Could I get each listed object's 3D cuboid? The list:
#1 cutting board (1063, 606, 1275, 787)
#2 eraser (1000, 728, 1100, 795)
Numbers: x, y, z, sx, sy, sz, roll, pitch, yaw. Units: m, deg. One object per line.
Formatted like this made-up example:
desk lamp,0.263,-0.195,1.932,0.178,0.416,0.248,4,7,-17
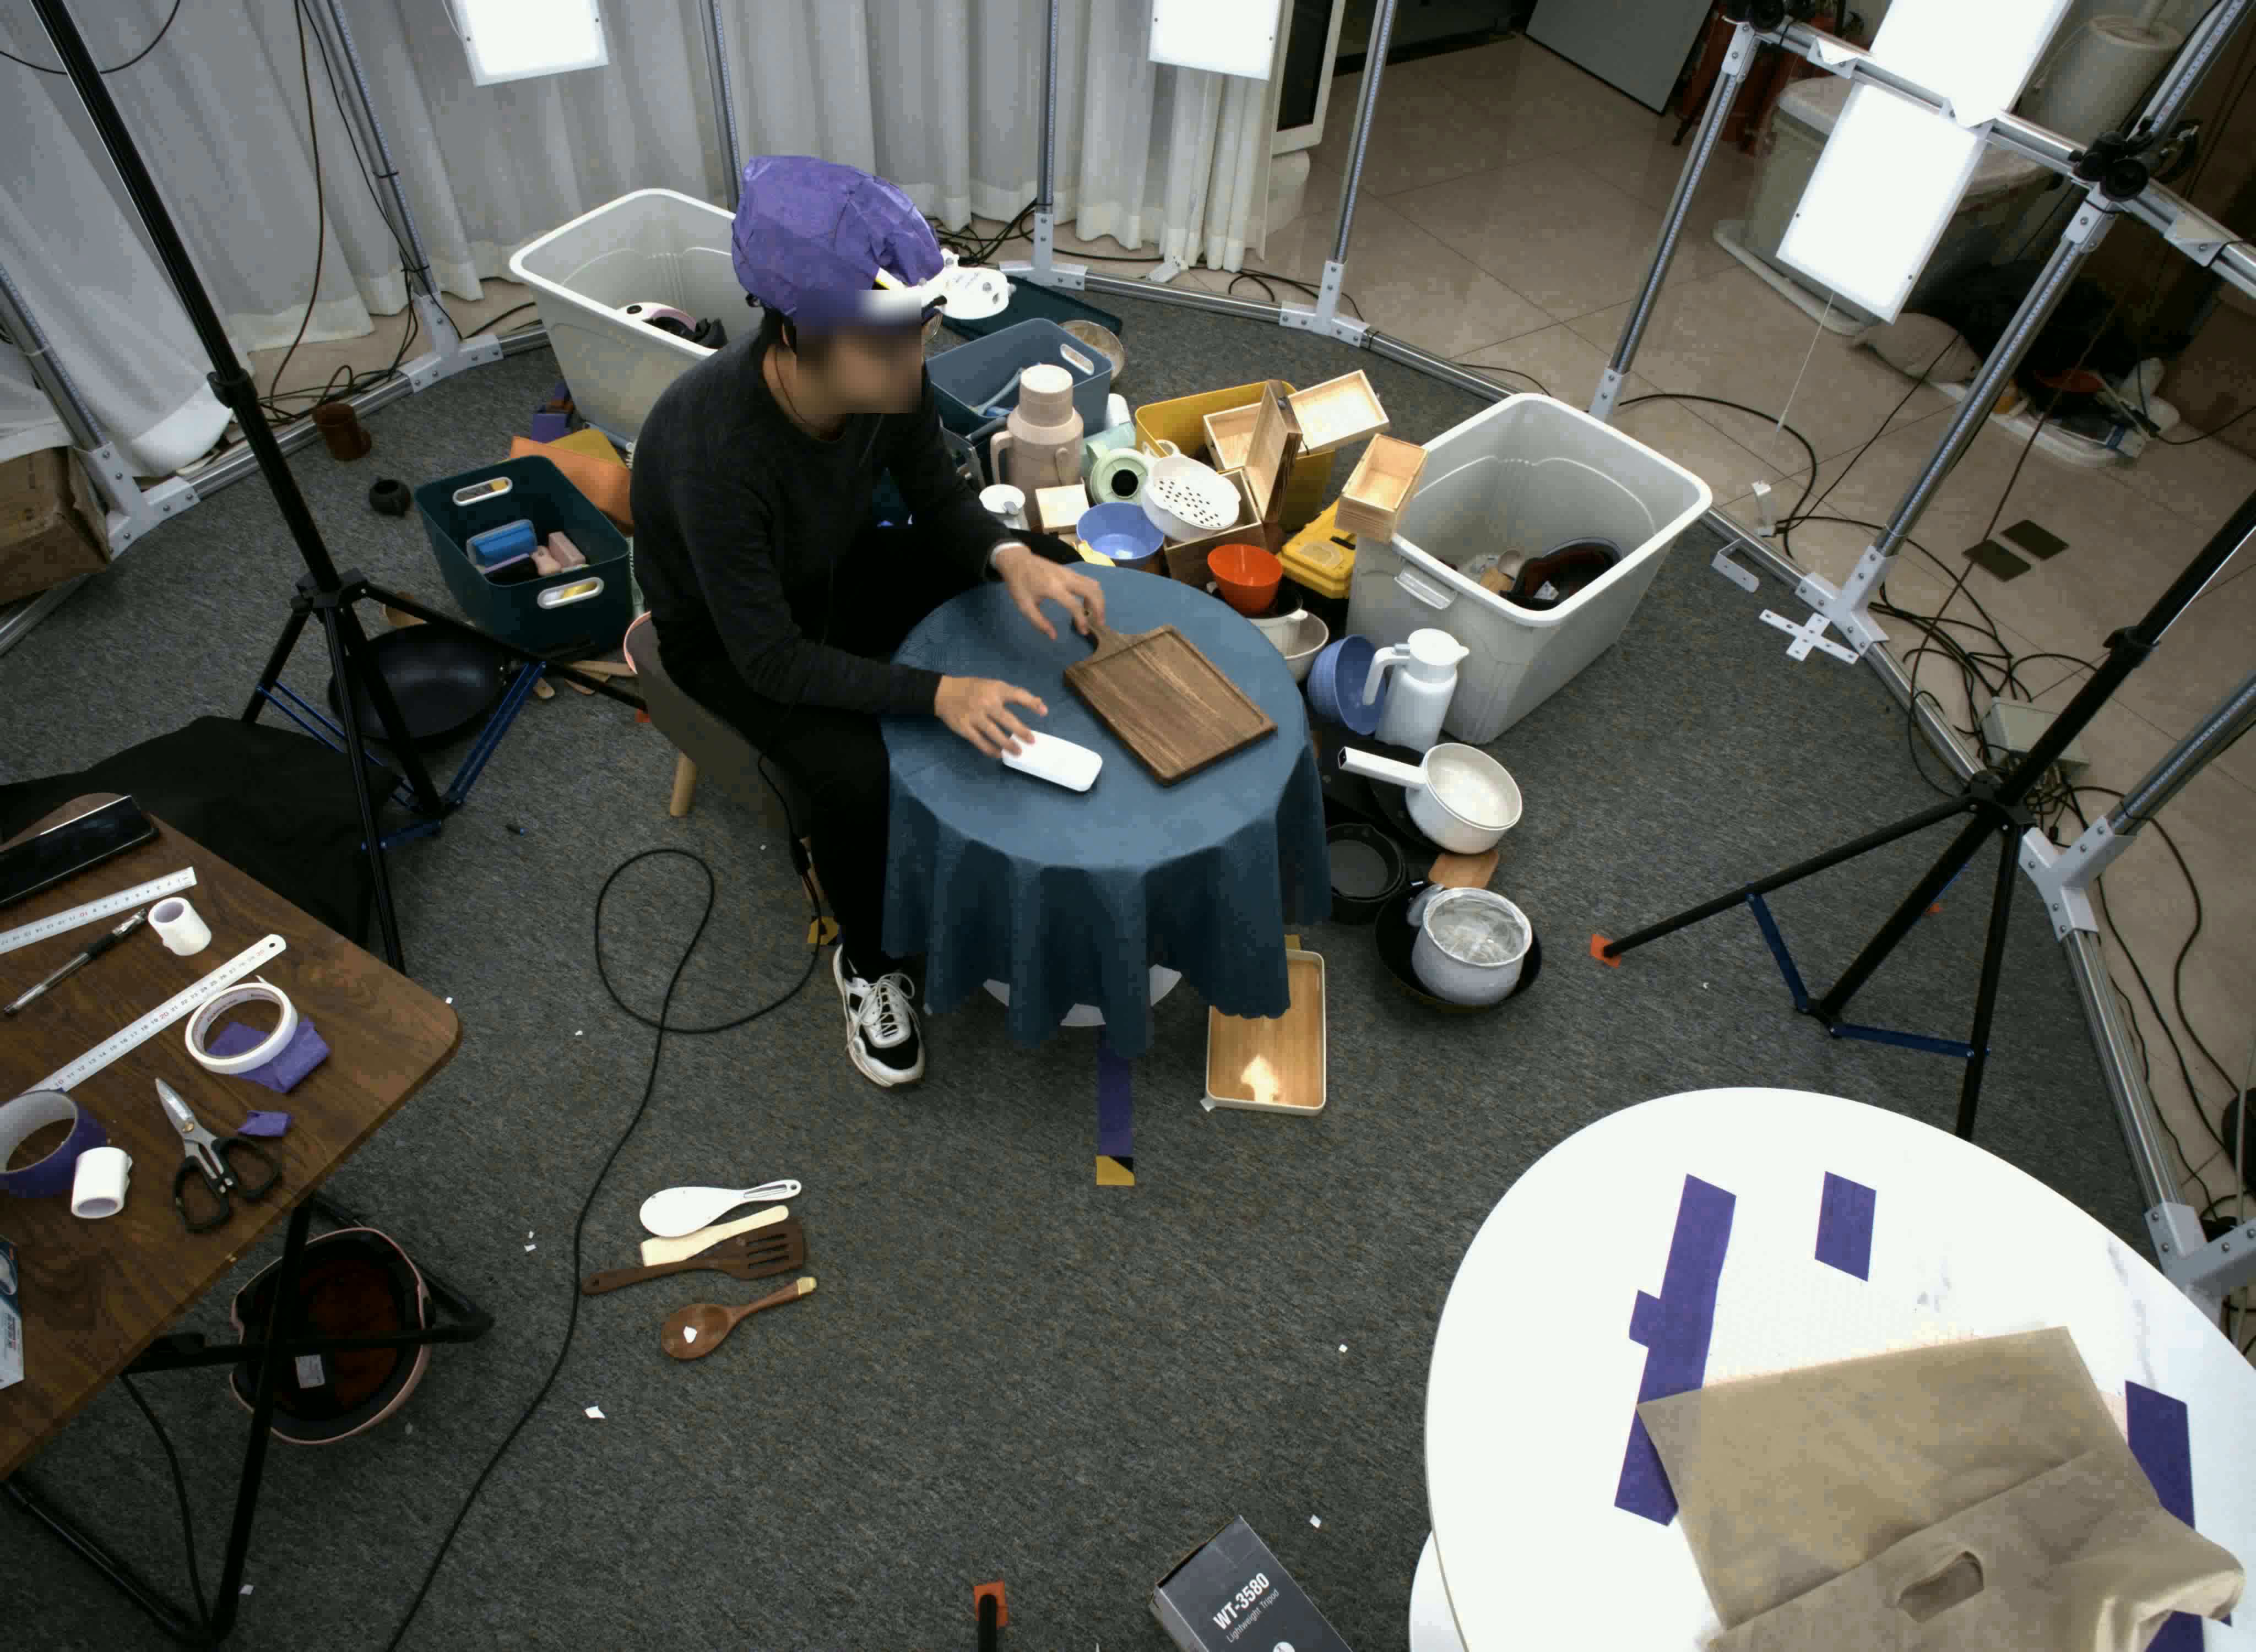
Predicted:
cutting board,0.027,-0.209,1.839,0.202,0.022,0.359,-27,56,-24
eraser,-0.104,-0.089,1.721,0.132,0.034,0.064,21,52,13
